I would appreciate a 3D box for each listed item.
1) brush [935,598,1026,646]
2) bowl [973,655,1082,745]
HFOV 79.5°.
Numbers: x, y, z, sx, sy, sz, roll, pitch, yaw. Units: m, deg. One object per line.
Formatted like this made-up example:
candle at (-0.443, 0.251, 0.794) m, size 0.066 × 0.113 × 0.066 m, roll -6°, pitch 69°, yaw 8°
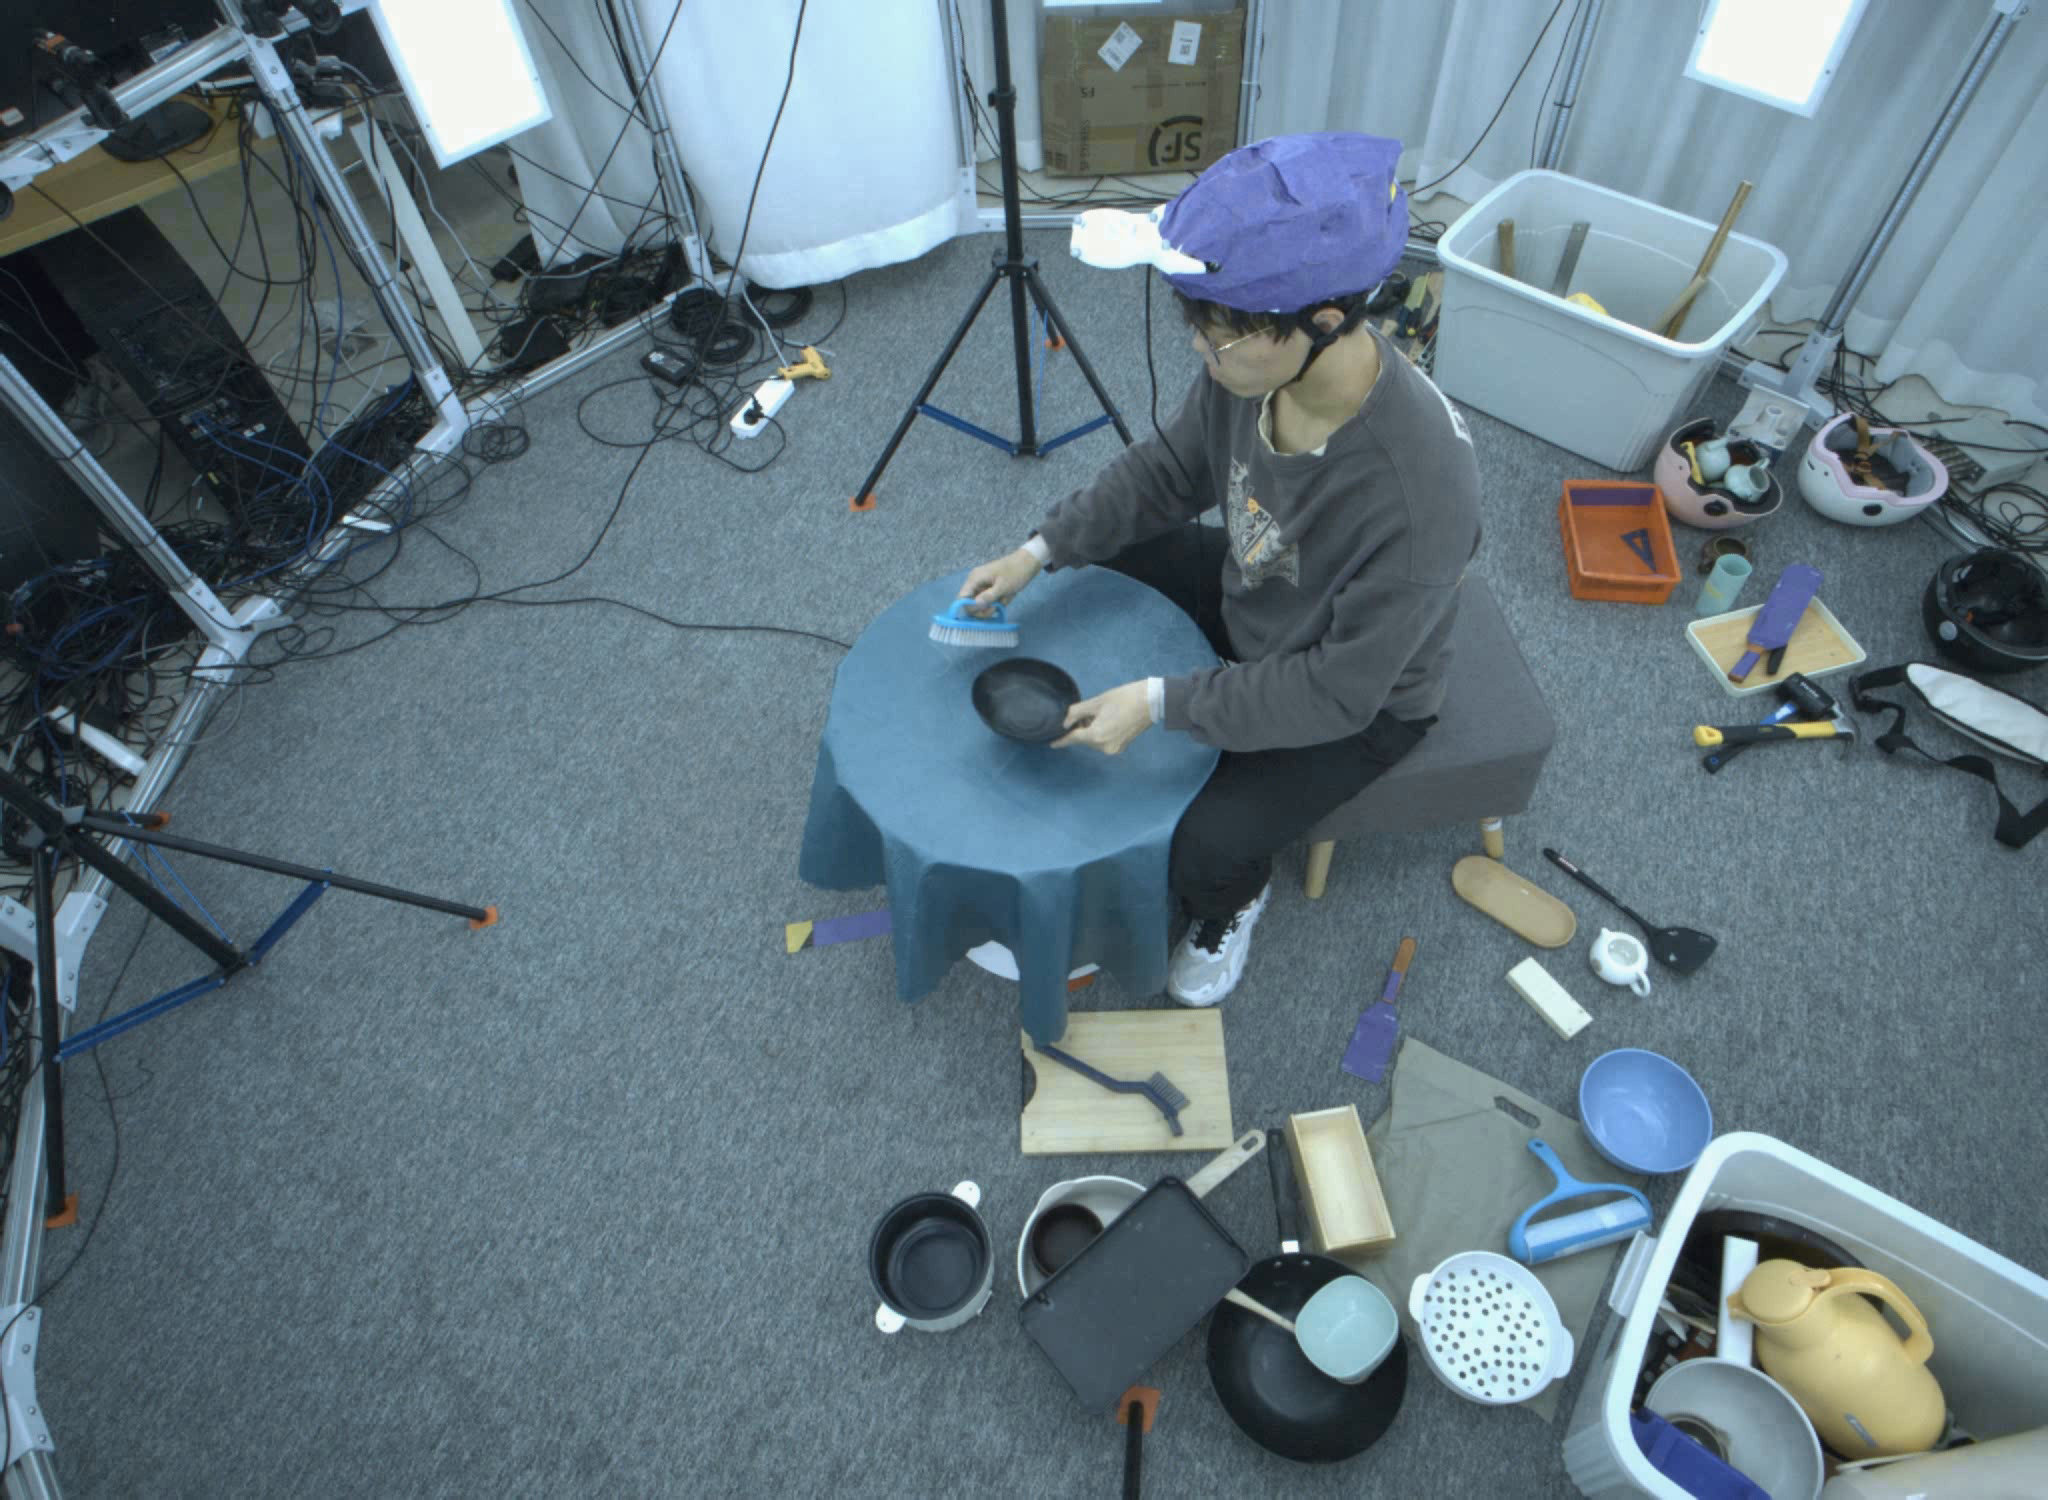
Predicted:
brush at (-0.065, -0.193, 1.828) m, size 0.144 × 0.064 × 0.082 m, roll 2°, pitch 12°, yaw -27°
bowl at (0.004, -0.061, 1.742) m, size 0.167 × 0.067 × 0.138 m, roll 31°, pitch 62°, yaw 22°
